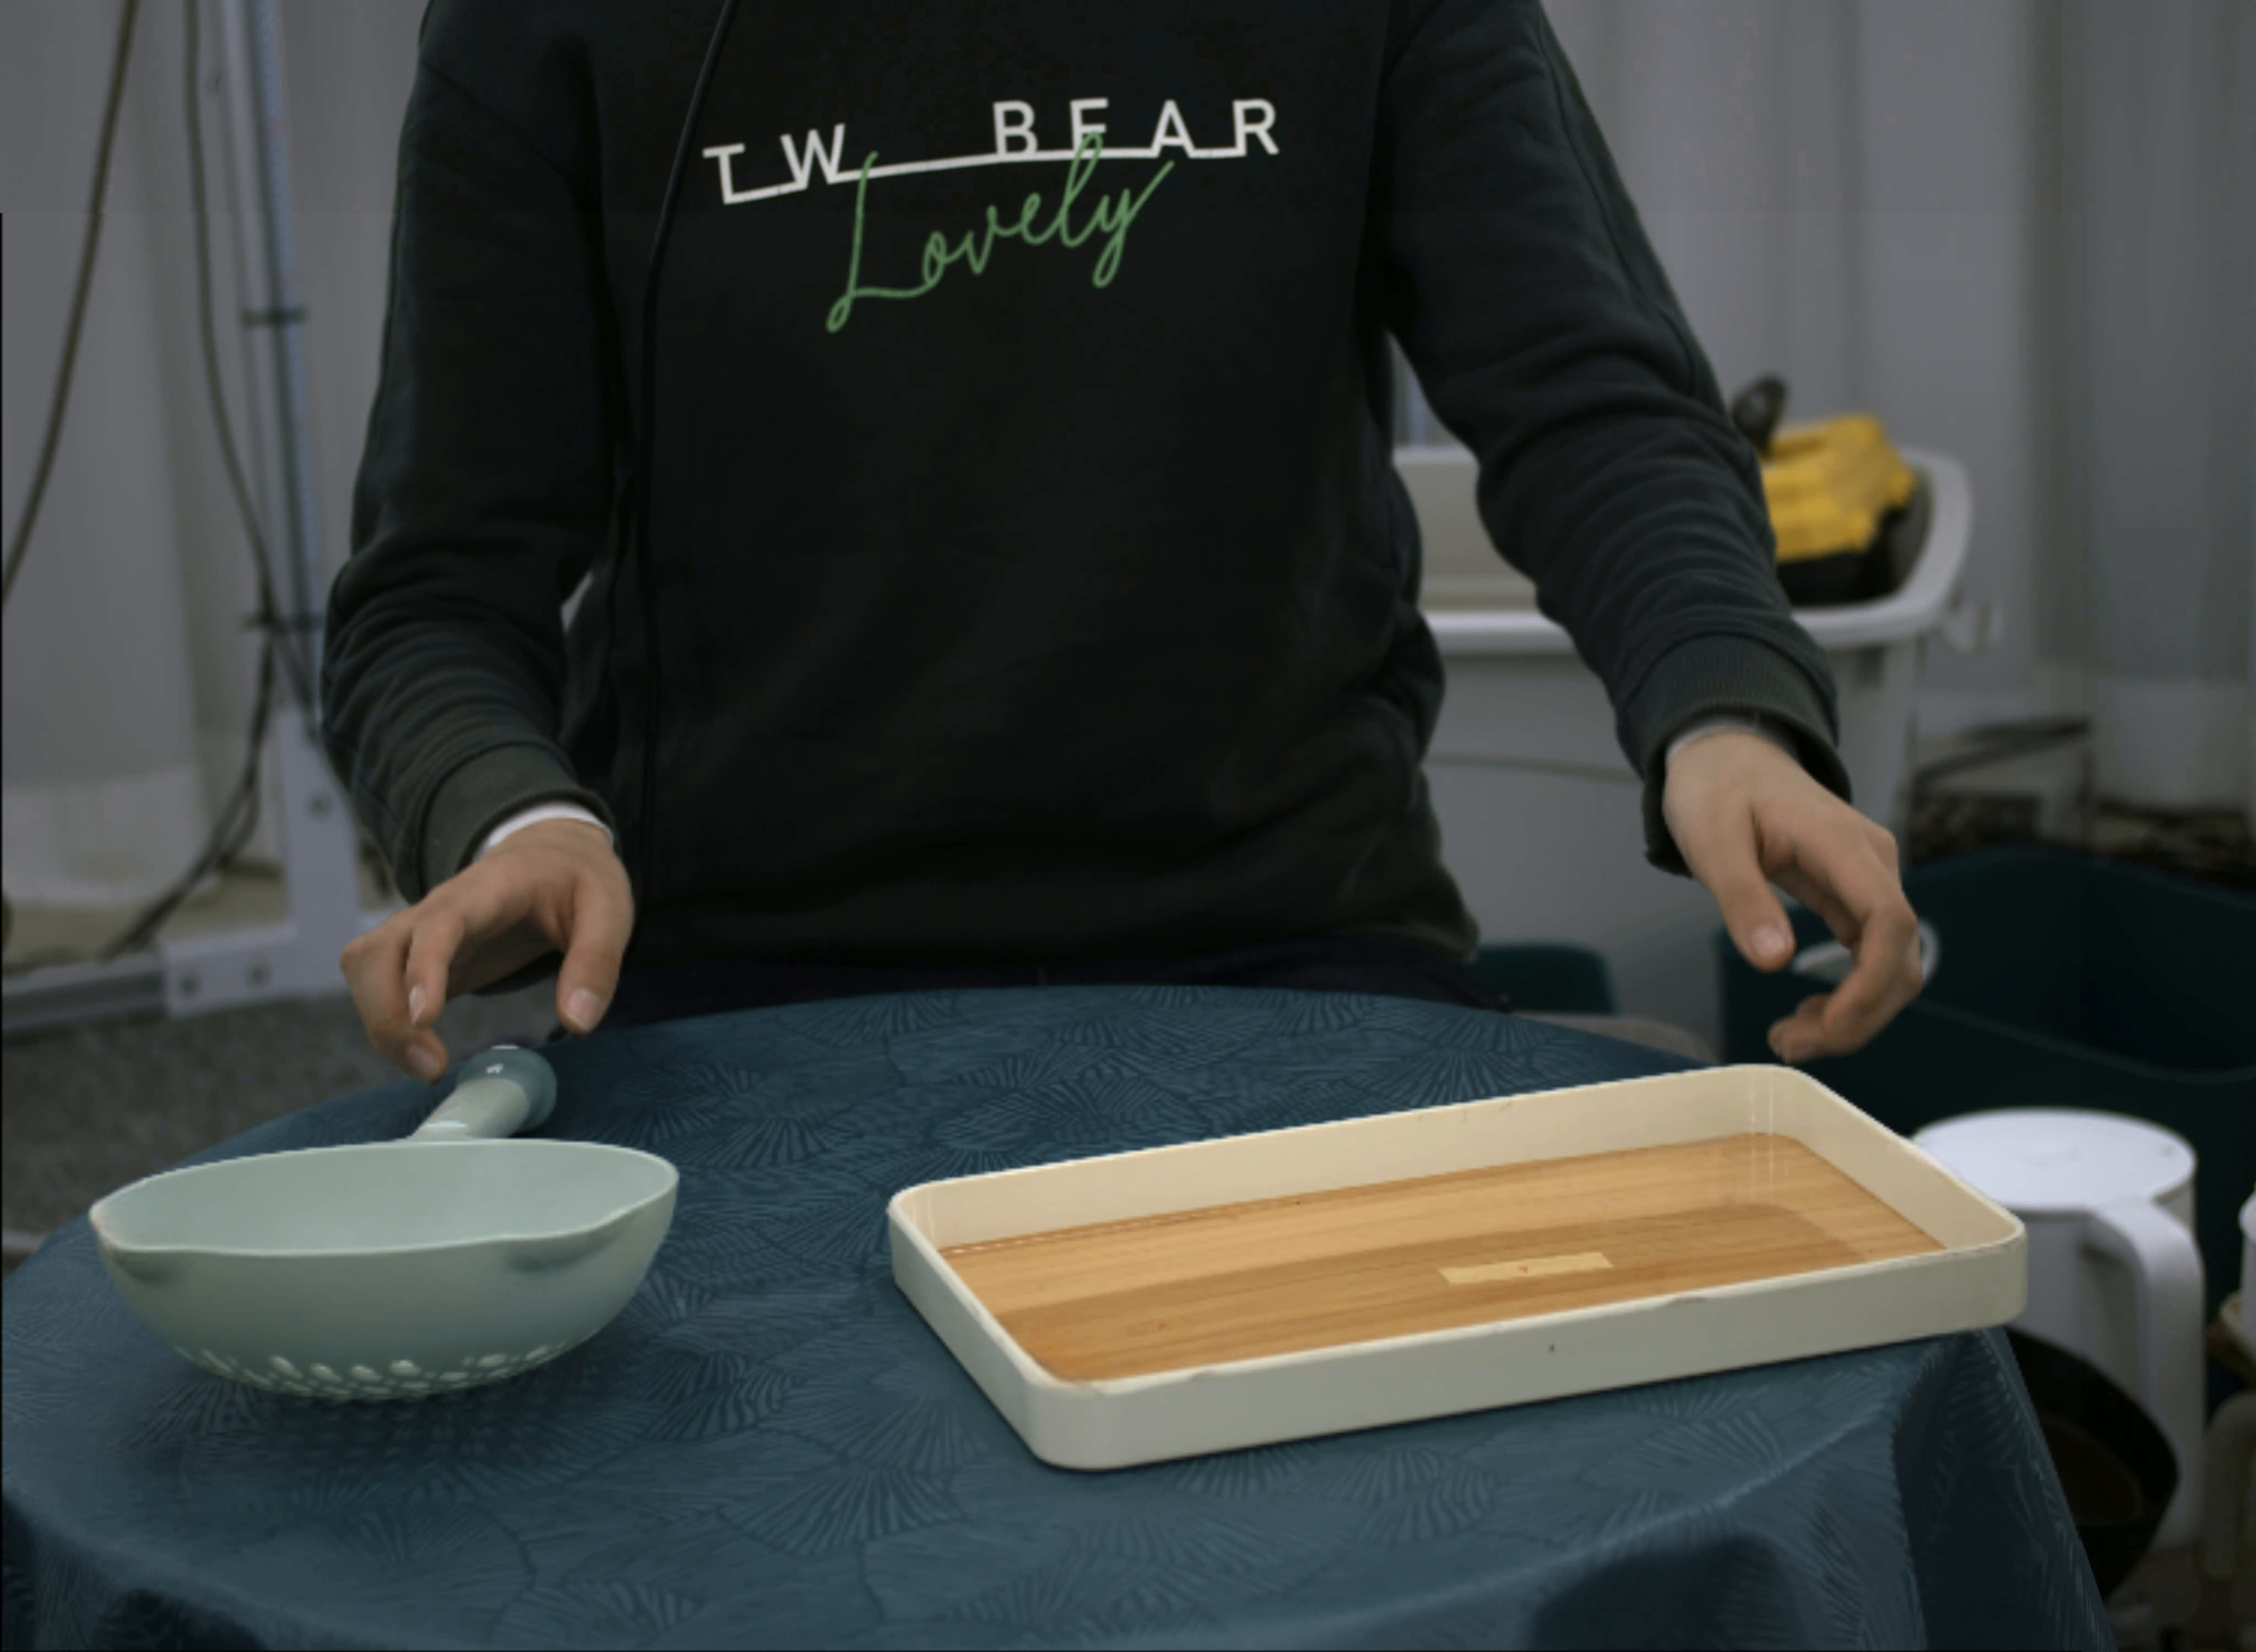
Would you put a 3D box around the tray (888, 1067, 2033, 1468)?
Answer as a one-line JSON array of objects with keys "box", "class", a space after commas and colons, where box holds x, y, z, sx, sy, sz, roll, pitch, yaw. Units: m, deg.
[{"box": [0.094, 0.126, 1.603, 0.299, 0.027, 0.193, -7, 15, -15], "class": "tray"}]

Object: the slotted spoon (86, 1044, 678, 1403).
[{"box": [-0.208, 0.105, 1.665, 0.169, 0.075, 0.361, -2, 15, 3], "class": "slotted spoon"}]
